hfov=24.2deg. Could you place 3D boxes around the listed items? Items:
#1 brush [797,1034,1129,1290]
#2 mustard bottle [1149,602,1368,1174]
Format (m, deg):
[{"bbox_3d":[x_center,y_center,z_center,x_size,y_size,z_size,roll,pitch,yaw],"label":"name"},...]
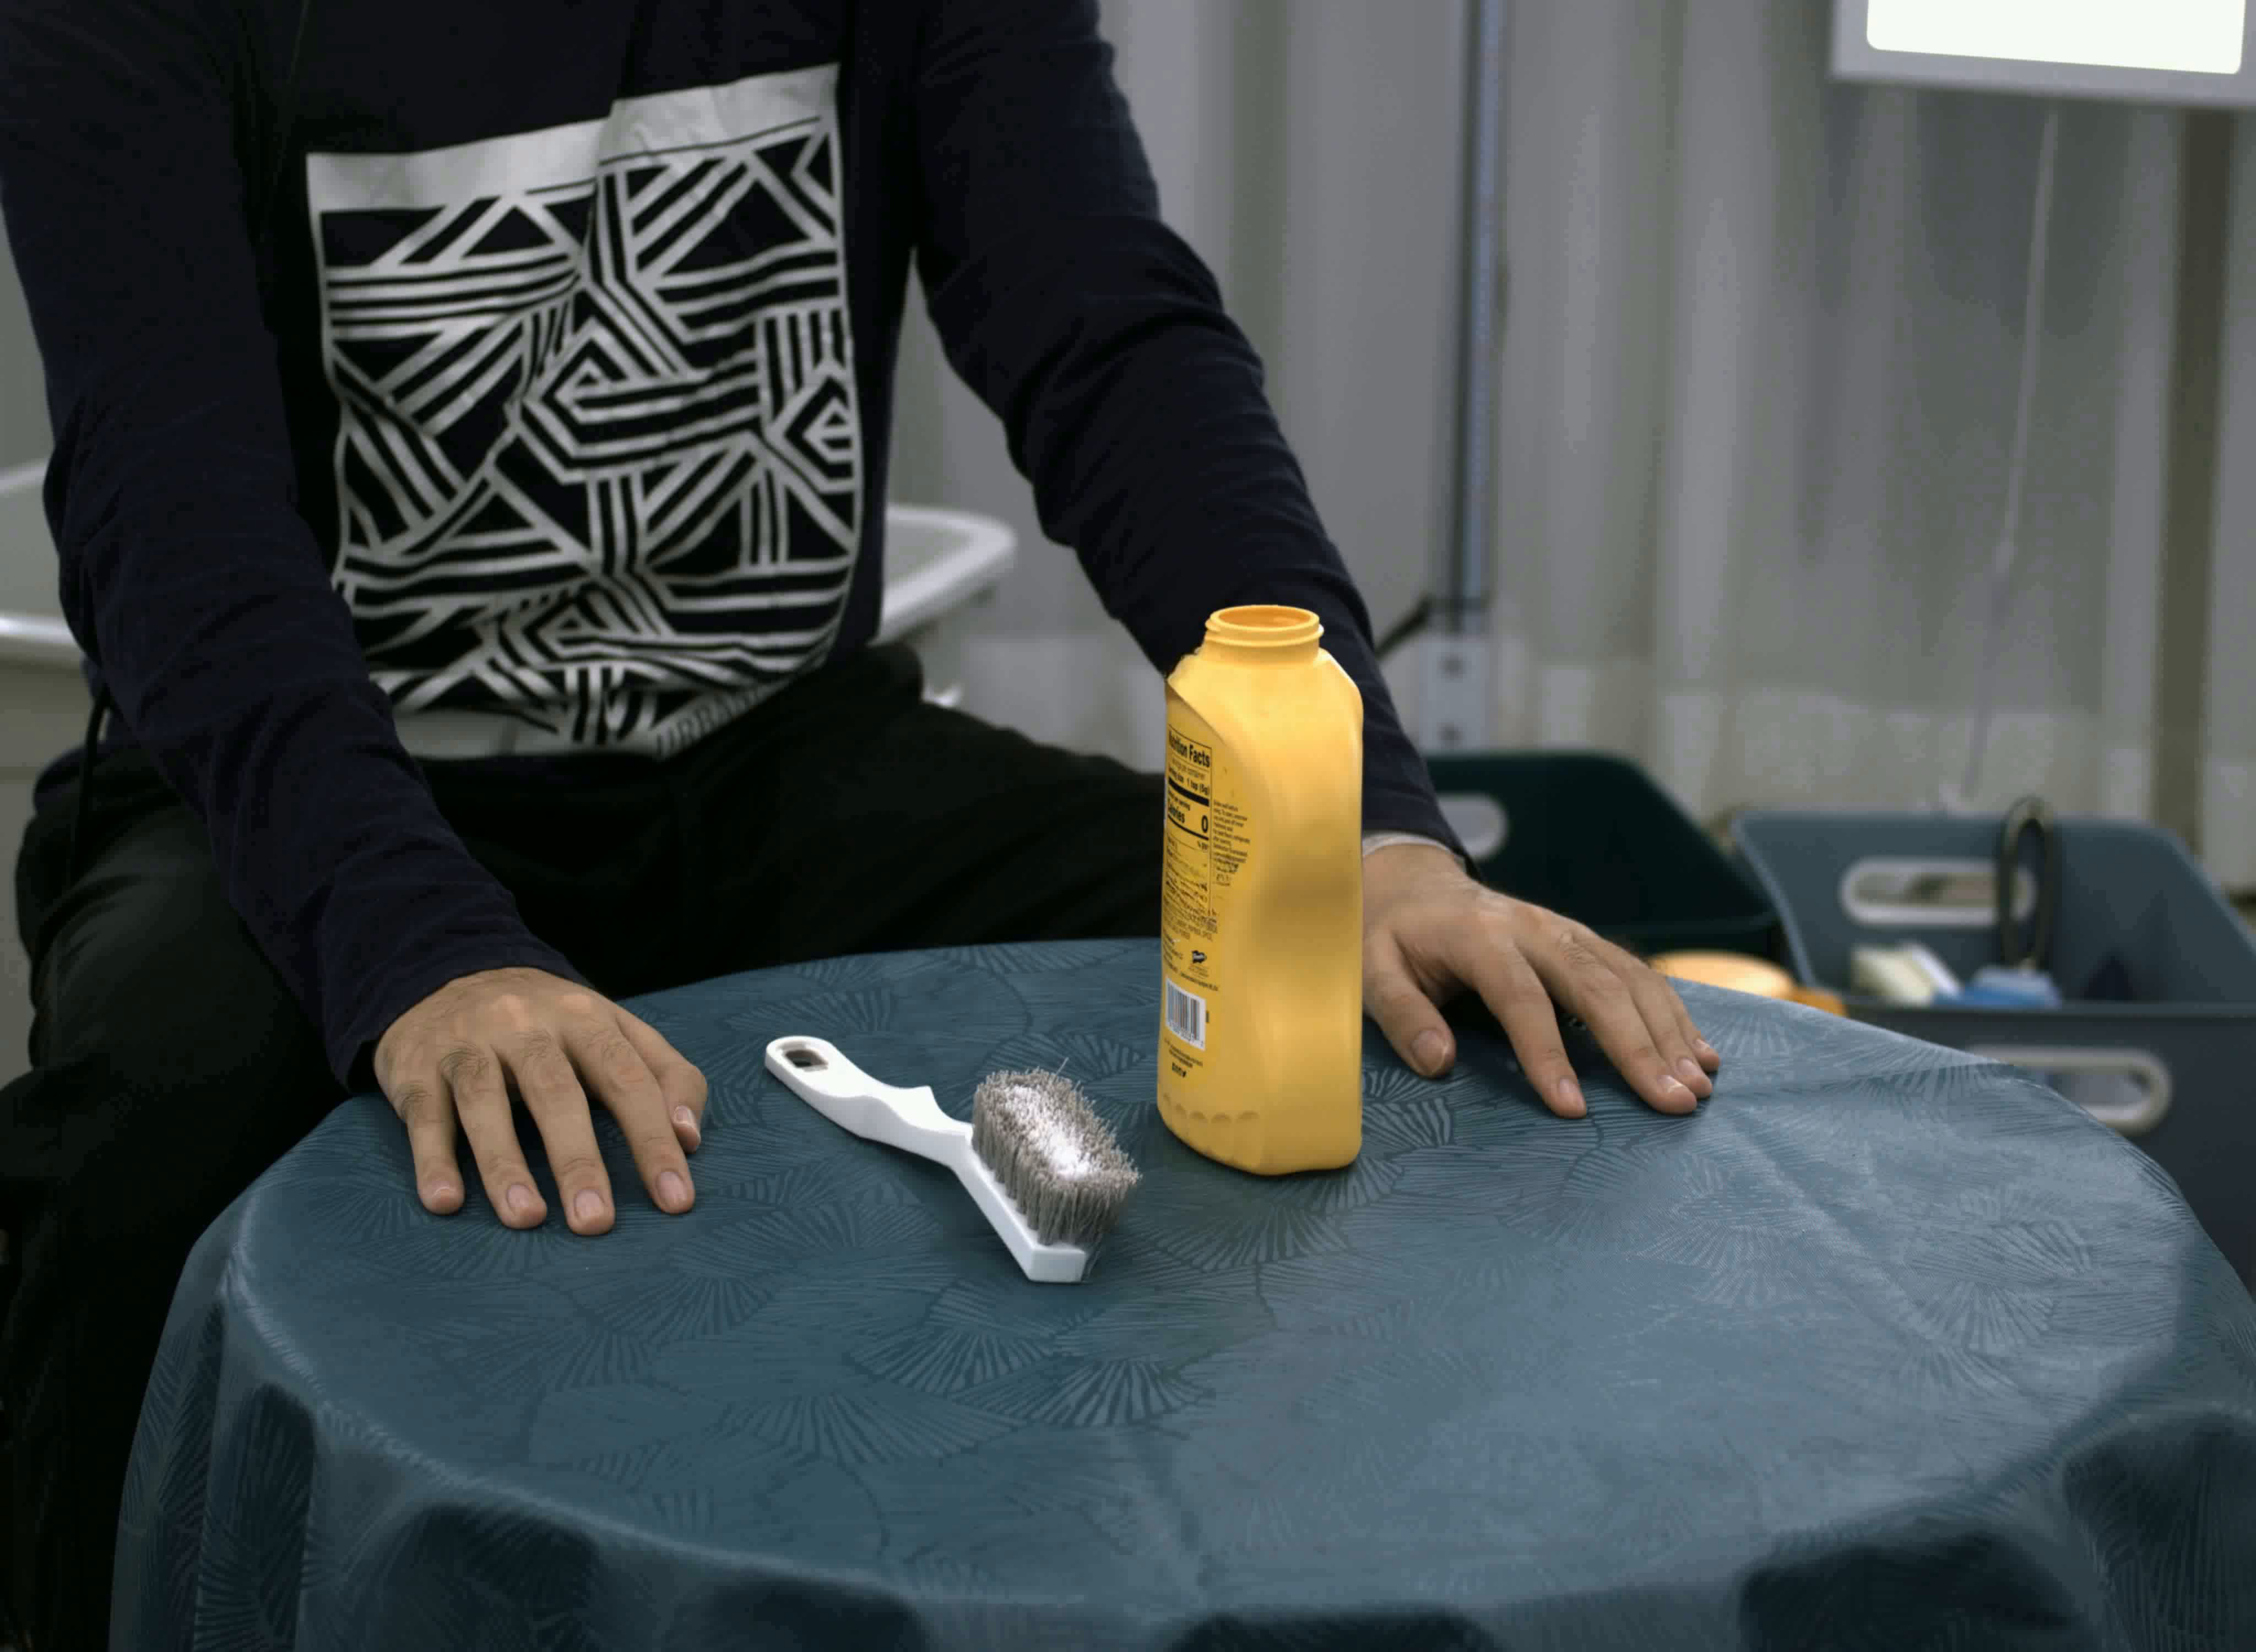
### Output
[{"bbox_3d":[-0.057,0.084,1.636,0.034,0.050,0.241,-11,19,-20],"label":"brush"},{"bbox_3d":[0.041,0.016,1.654,0.059,0.173,0.097,-4,15,-25],"label":"mustard bottle"}]
